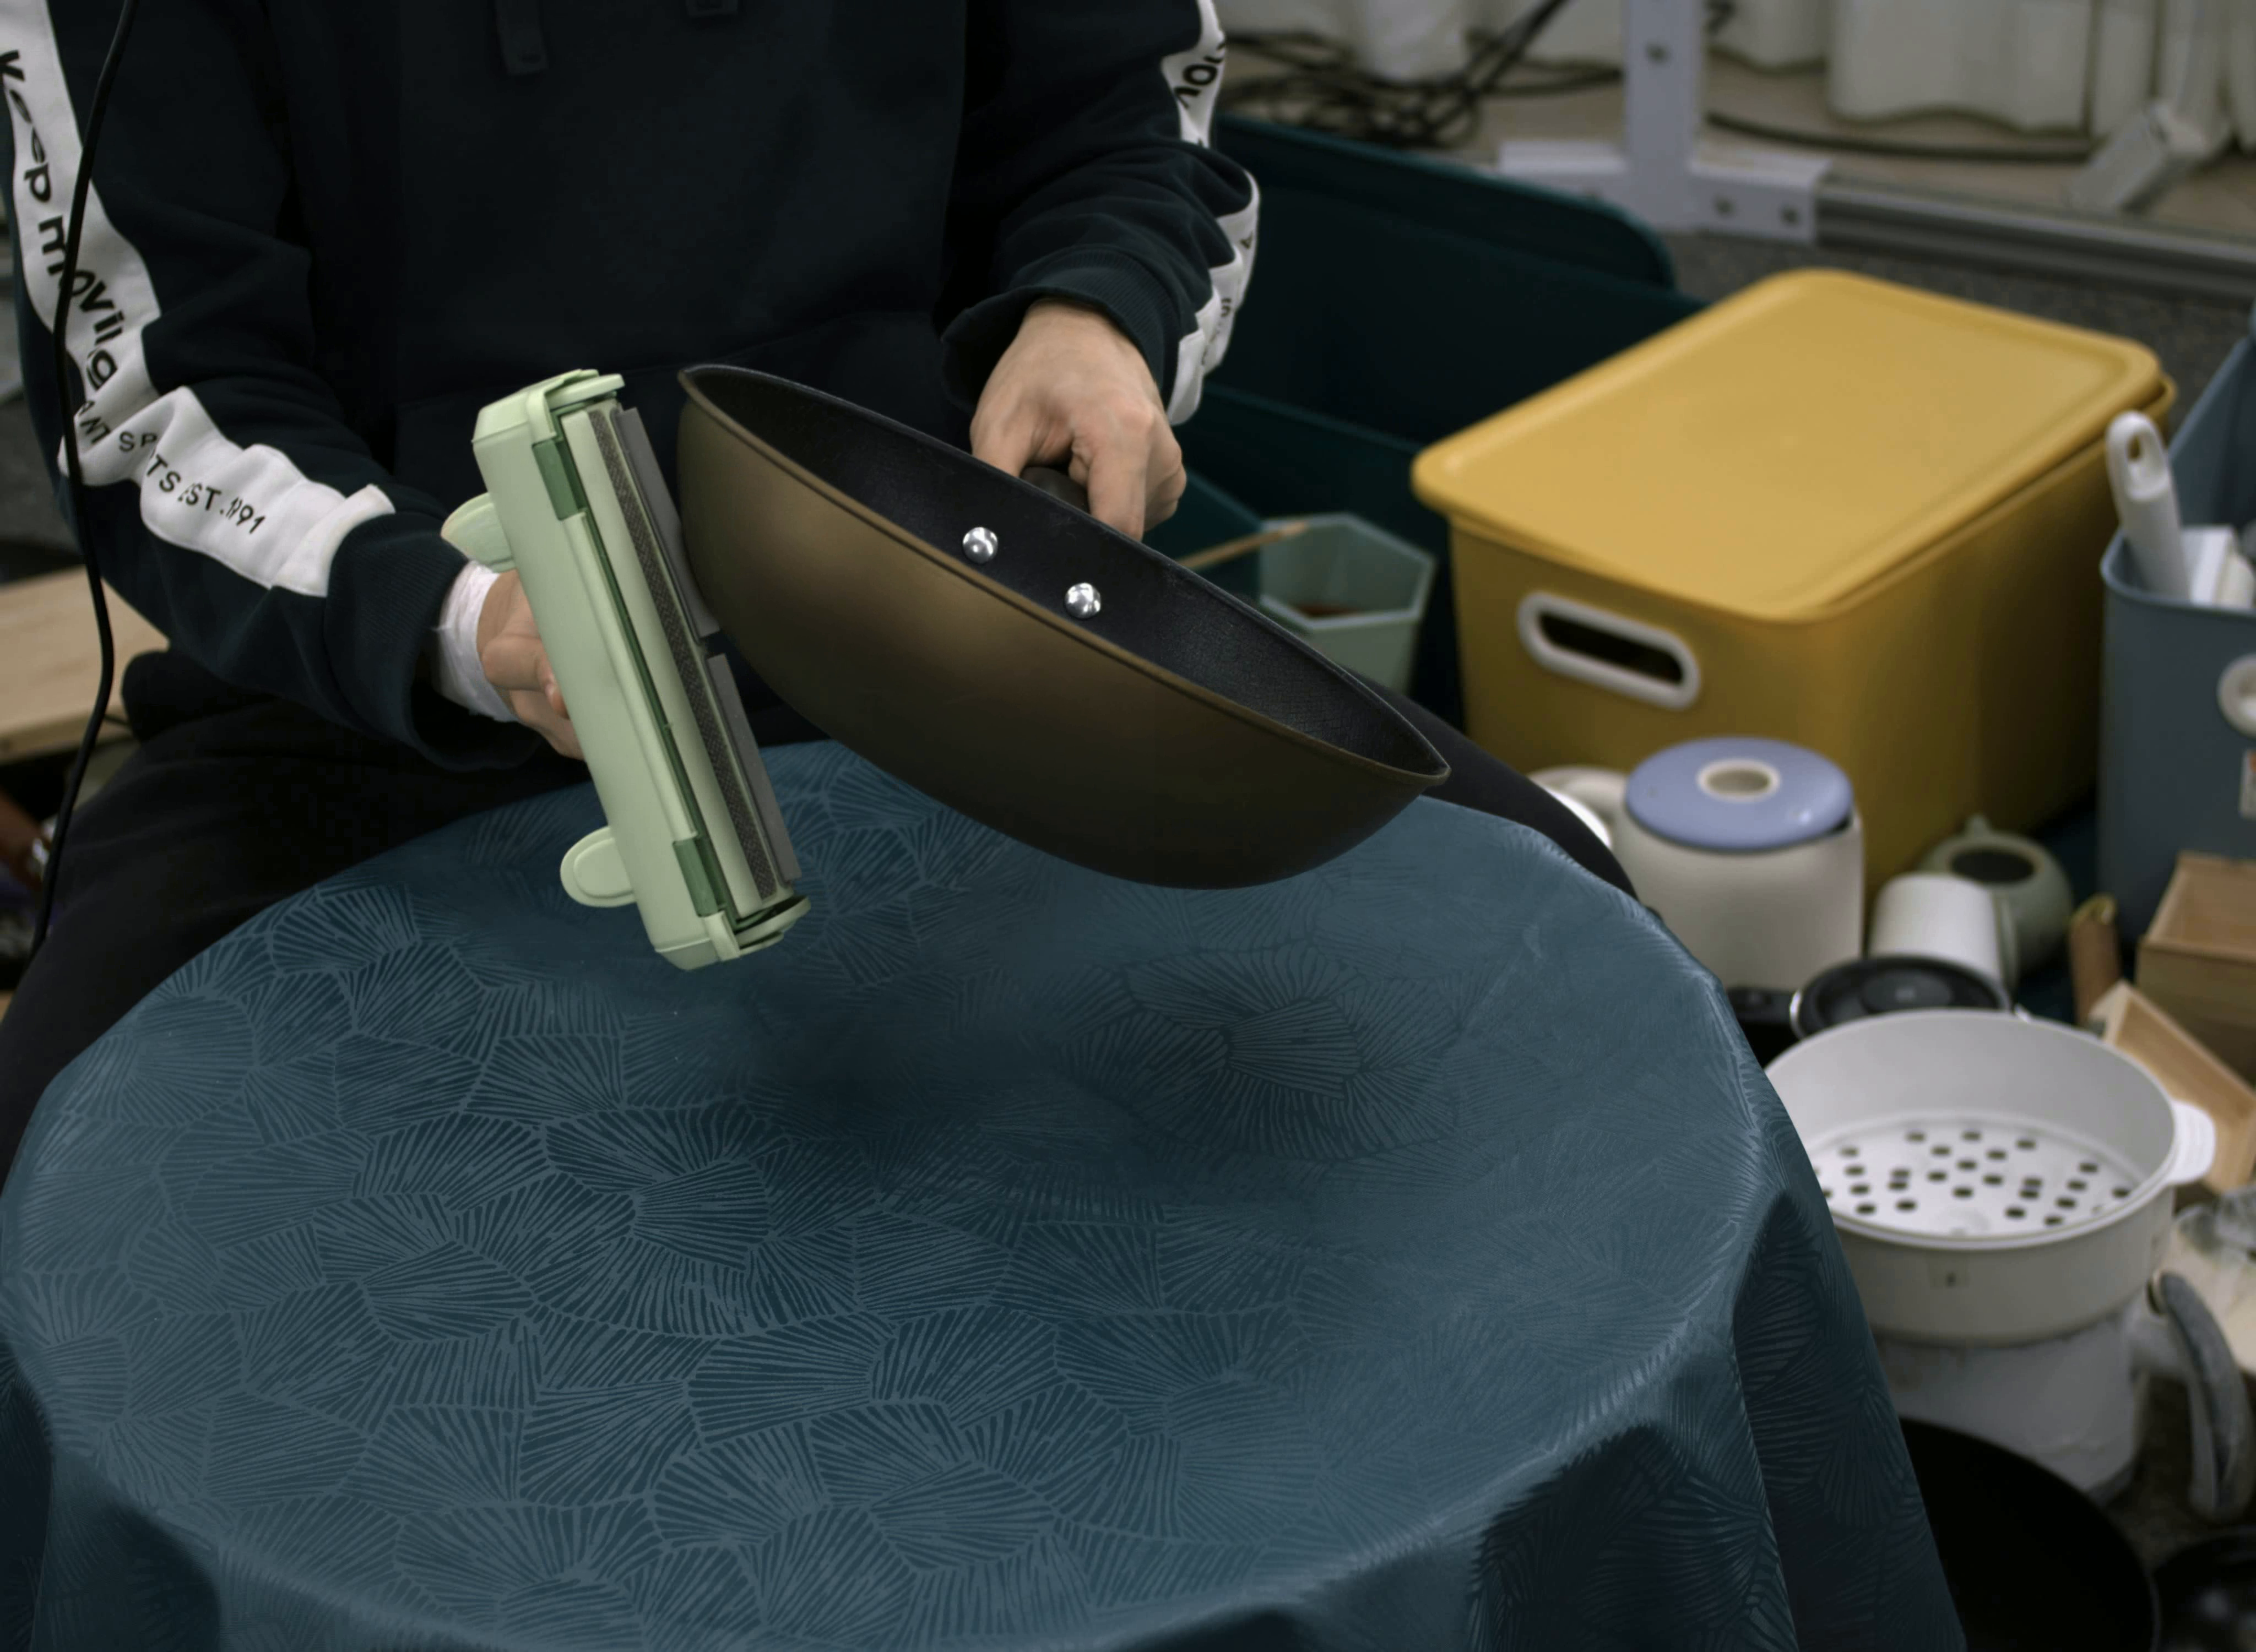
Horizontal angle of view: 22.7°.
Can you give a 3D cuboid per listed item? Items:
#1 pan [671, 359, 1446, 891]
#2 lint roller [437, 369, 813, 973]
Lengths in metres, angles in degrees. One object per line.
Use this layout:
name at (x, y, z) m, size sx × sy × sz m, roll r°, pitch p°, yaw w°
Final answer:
pan at (-0.040, -0.070, 1.945) m, size 0.287 × 0.086 × 0.466 m, roll 27°, pitch 8°, yaw -7°
lint roller at (-0.178, -0.047, 1.885) m, size 0.082 × 0.199 × 0.182 m, roll -20°, pitch 3°, yaw -14°
